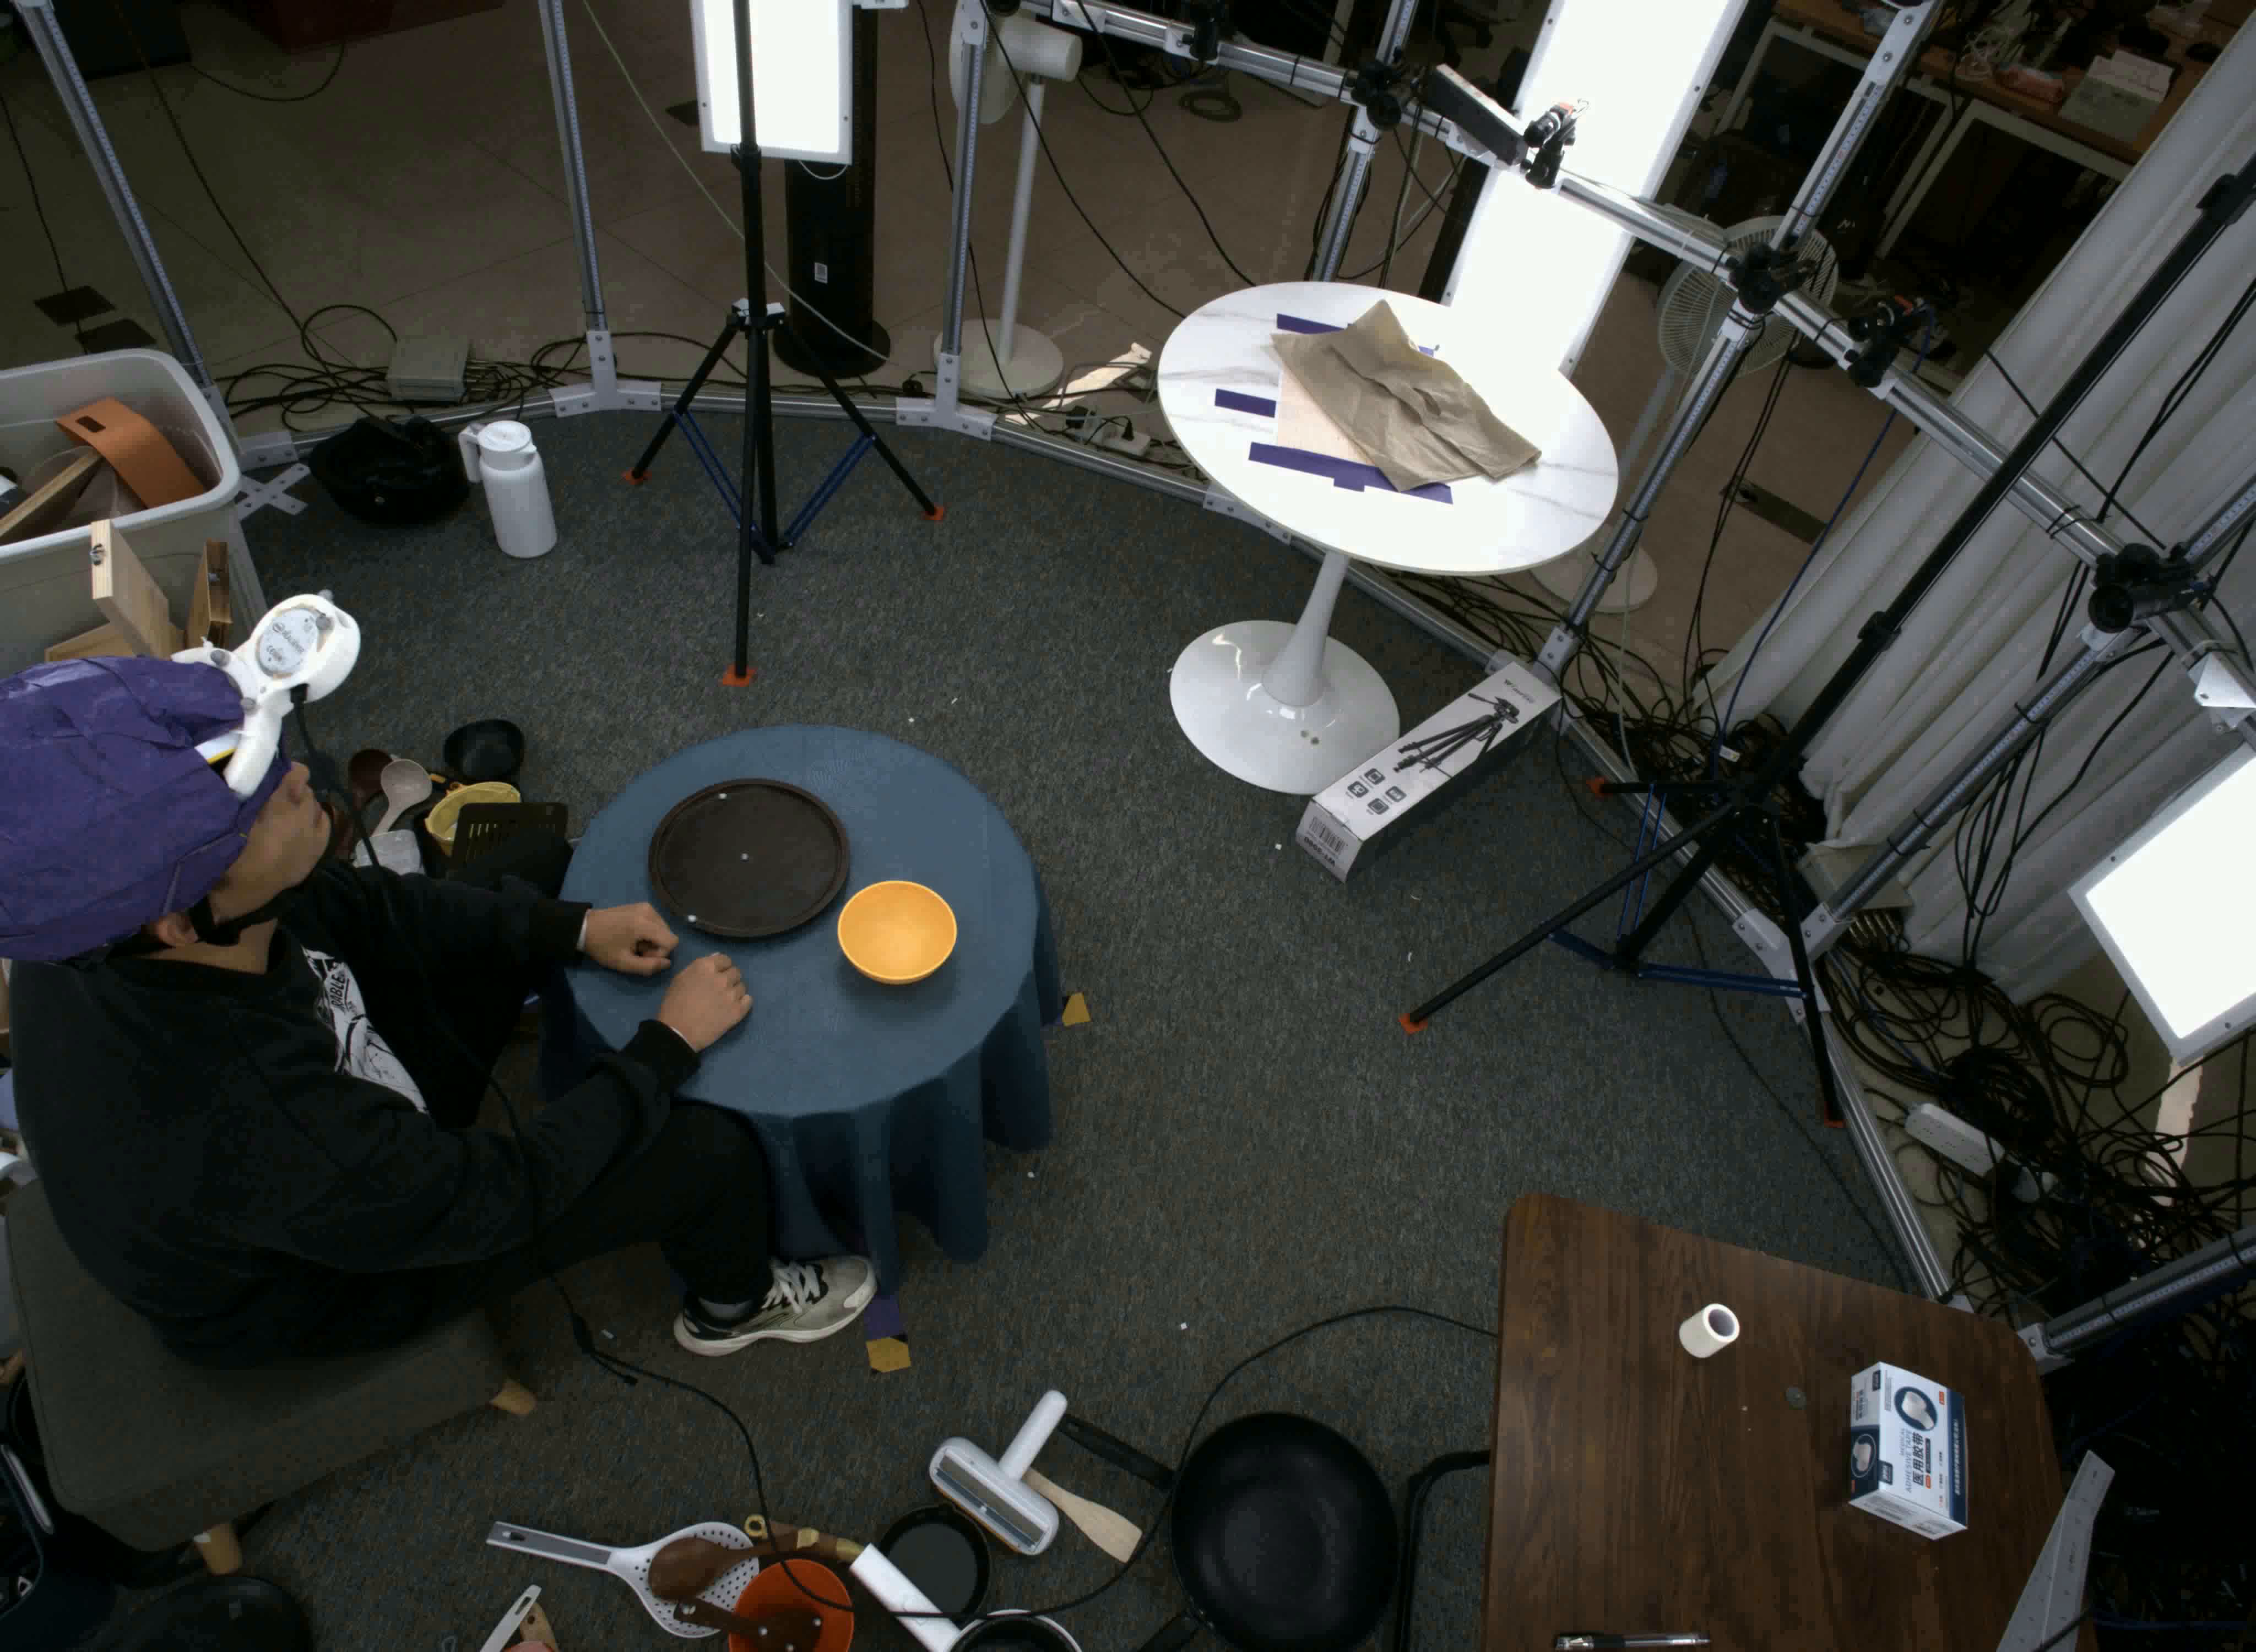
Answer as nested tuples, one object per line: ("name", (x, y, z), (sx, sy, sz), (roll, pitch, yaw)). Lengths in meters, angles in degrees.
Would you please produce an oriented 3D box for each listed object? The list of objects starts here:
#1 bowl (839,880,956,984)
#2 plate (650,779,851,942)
("bowl", (-0.287, 0.142, 1.622), (0.145, 0.061, 0.143), (6, 53, -7))
("plate", (-0.486, 0.041, 1.668), (0.254, 0.029, 0.250), (8, 54, -9))
